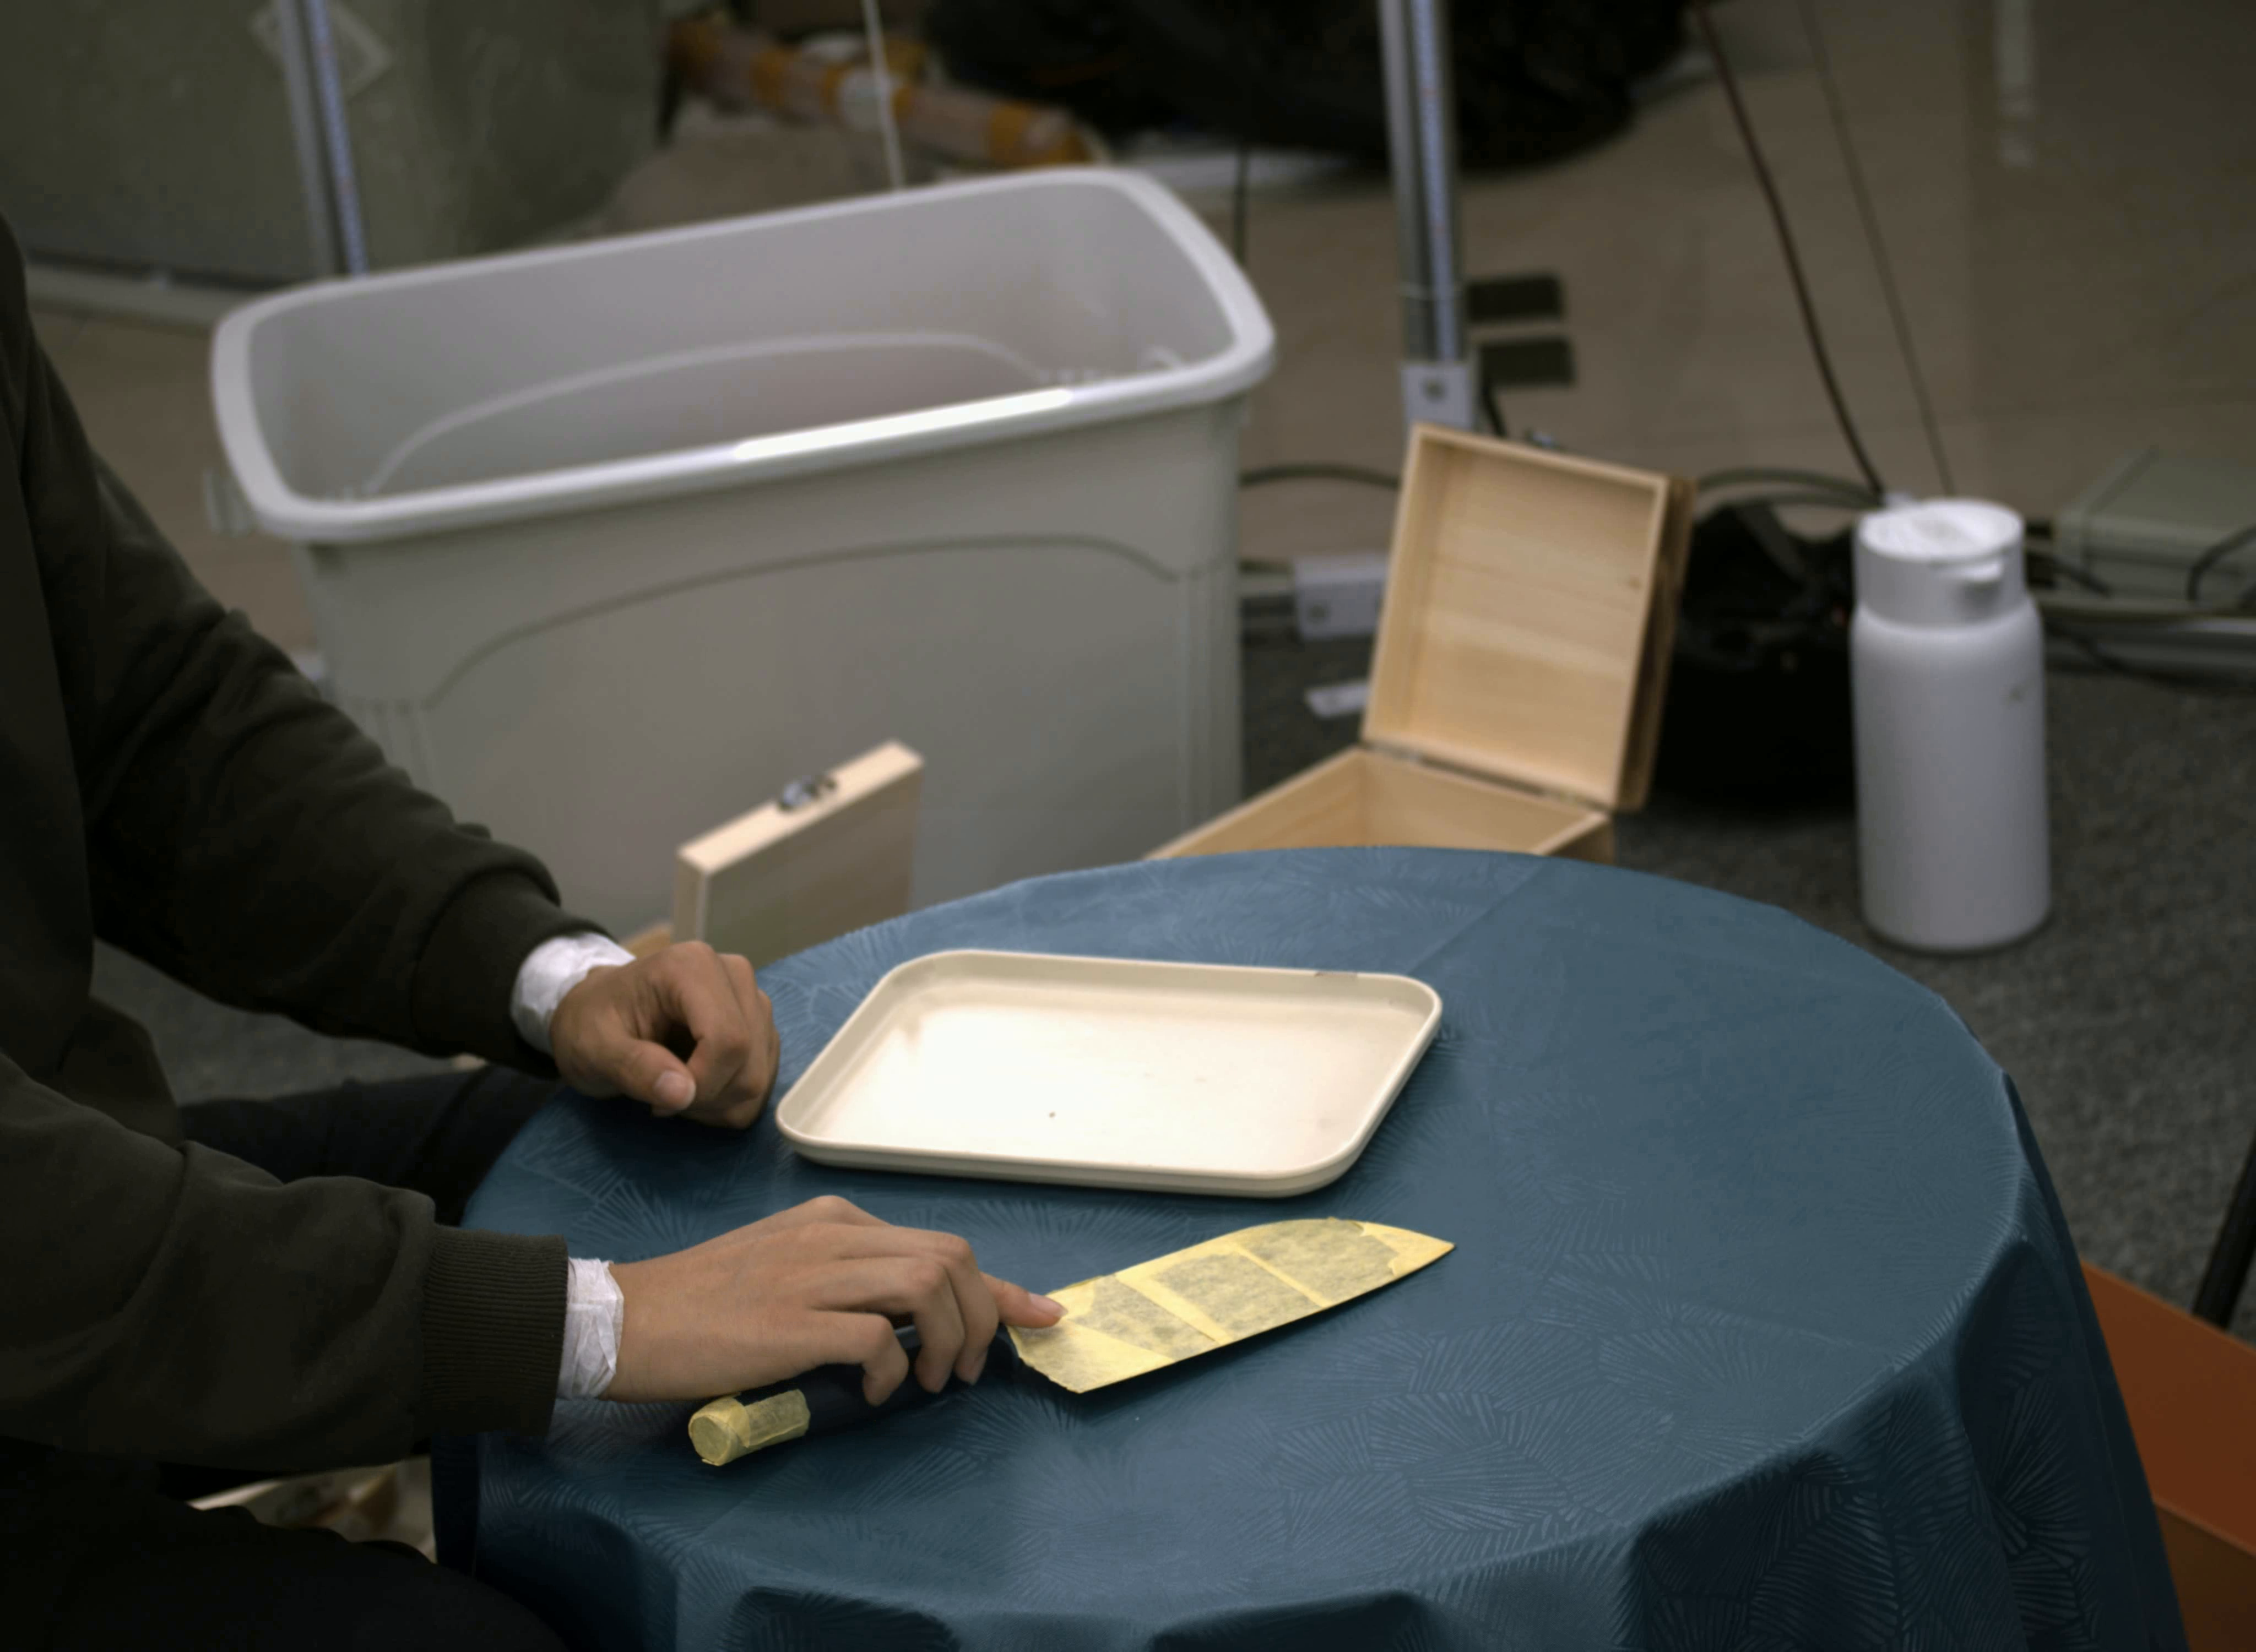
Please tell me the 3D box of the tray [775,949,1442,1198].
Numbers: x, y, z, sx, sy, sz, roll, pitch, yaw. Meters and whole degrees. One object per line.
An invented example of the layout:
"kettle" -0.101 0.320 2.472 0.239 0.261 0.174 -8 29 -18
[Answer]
"tray" -0.006 0.097 2.222 0.239 0.018 0.169 3 27 20

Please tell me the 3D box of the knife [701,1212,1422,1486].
"knife" -0.018 0.185 2.038 0.288 0.027 0.080 -17 24 -24
